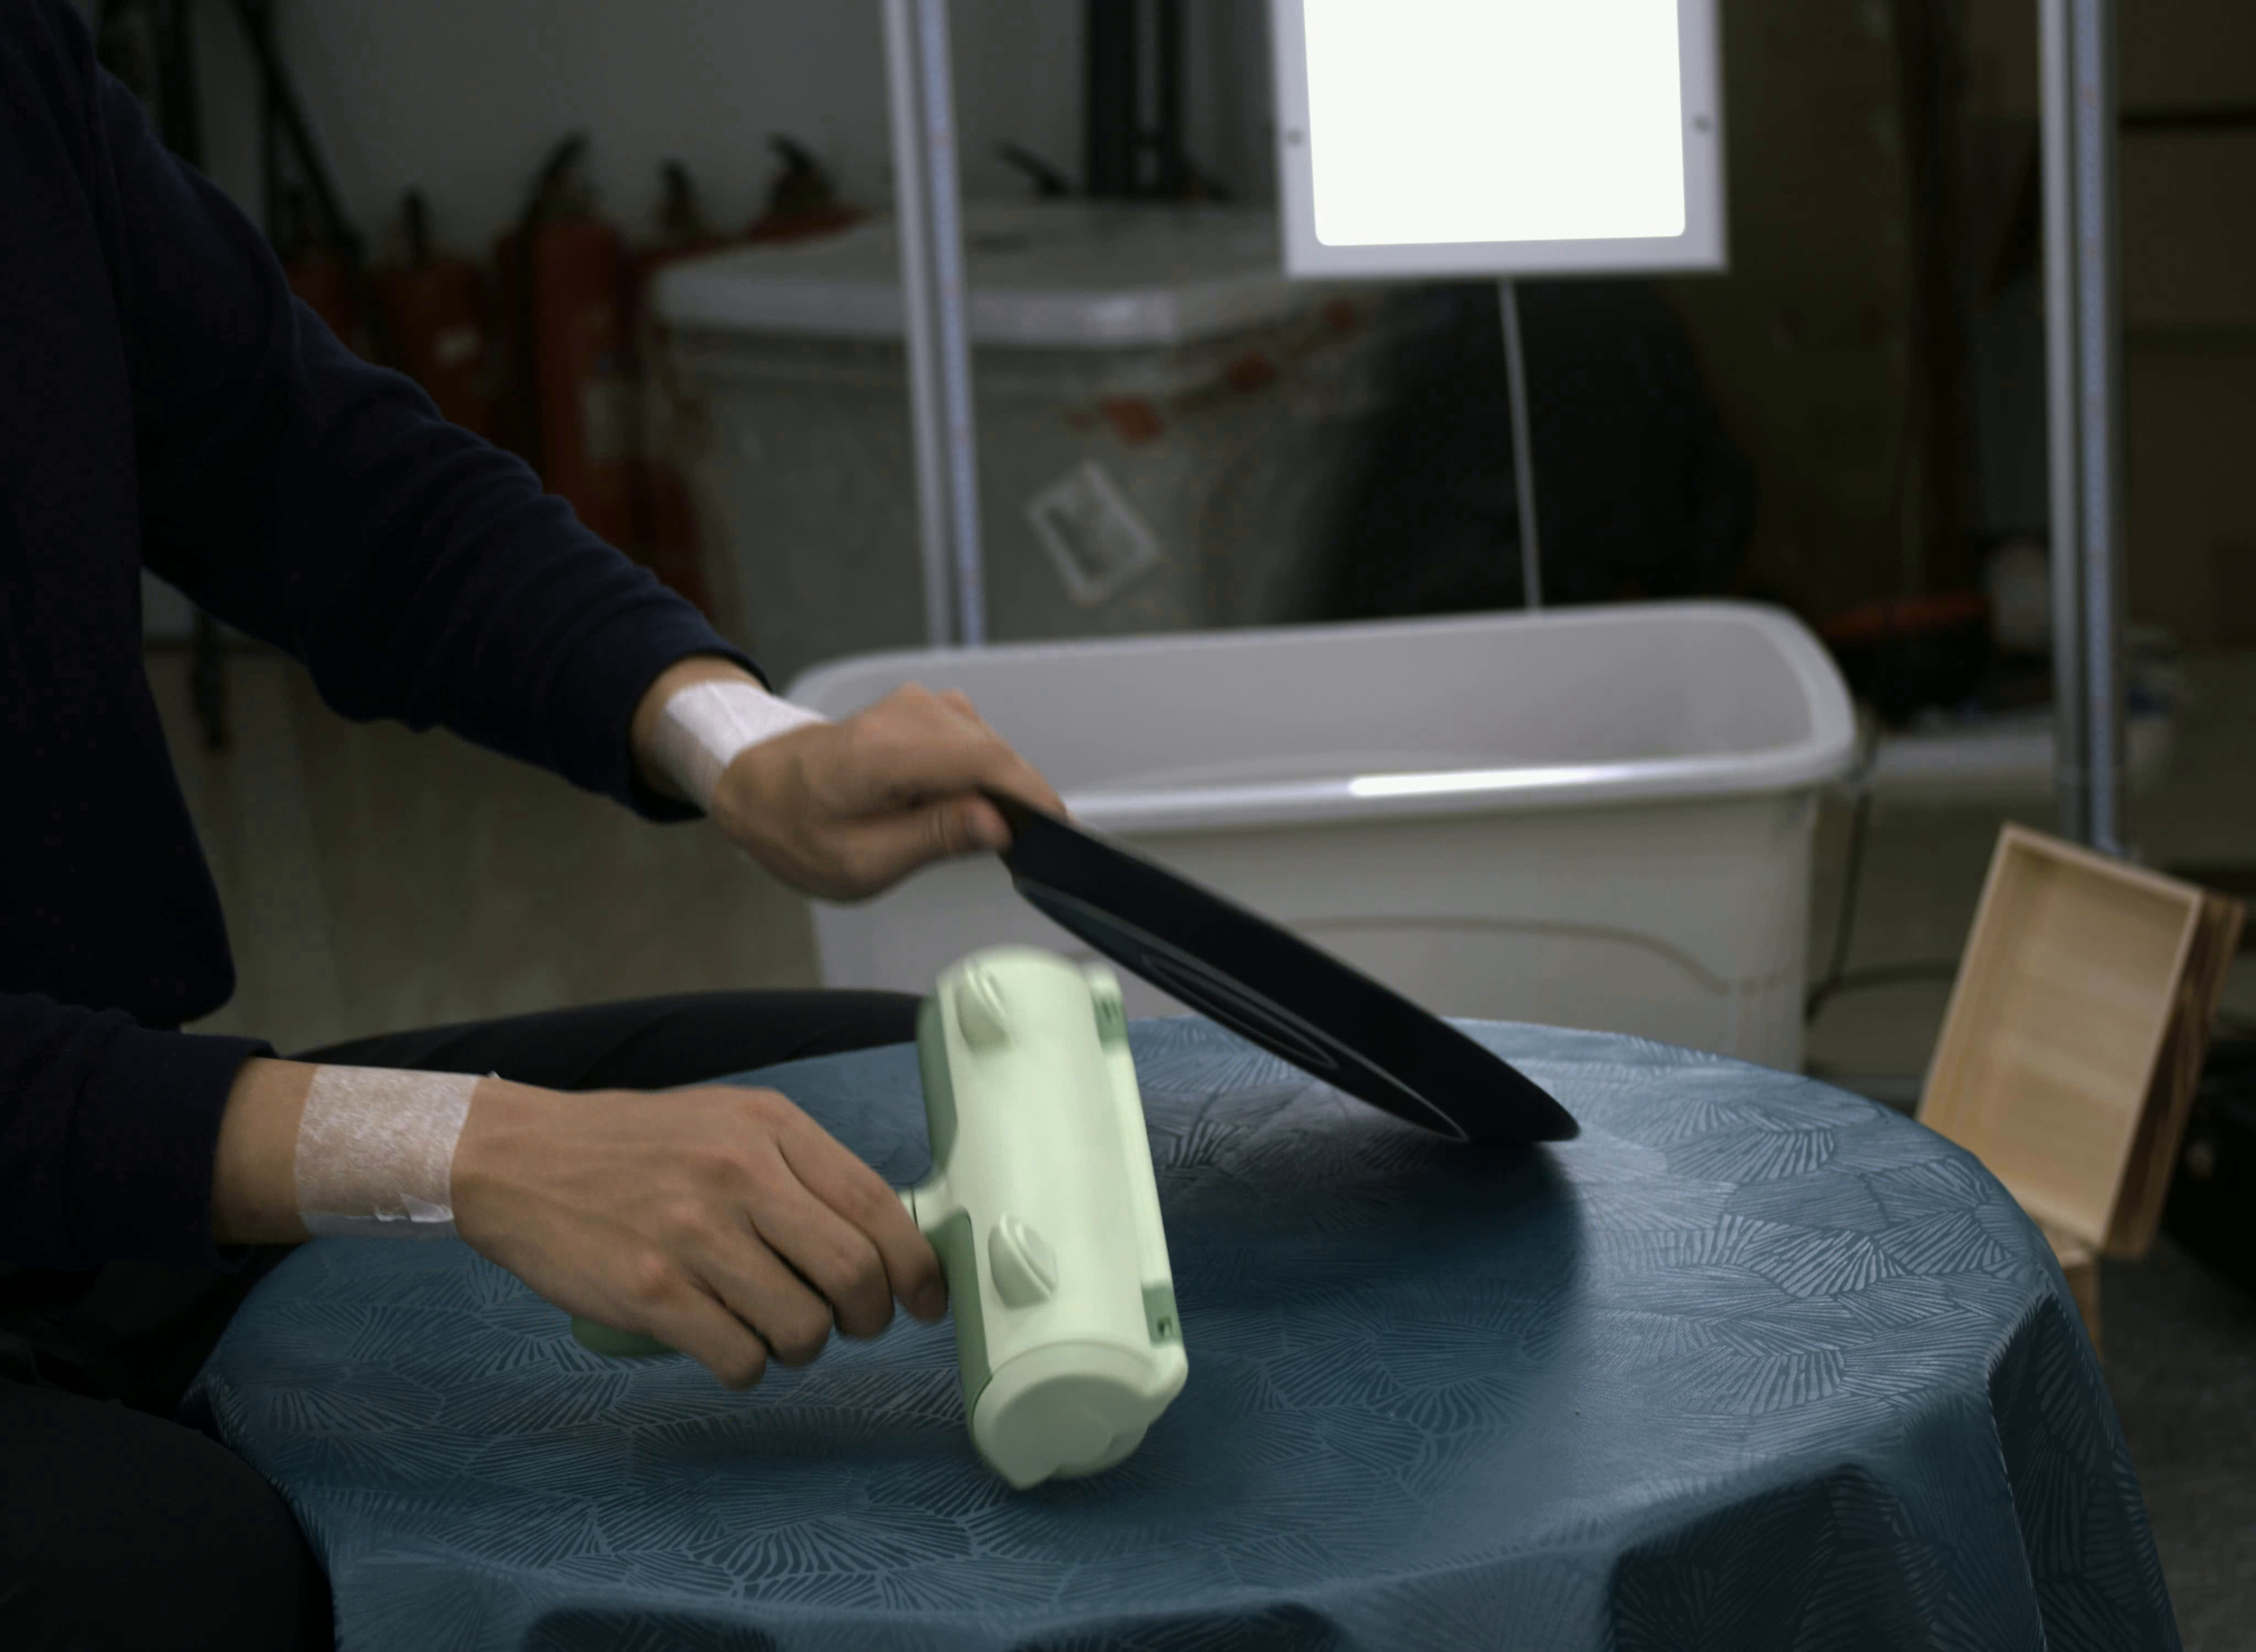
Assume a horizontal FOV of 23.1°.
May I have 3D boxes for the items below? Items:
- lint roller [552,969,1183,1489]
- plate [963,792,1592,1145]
[{"bbox_3d":[-0.084,0.116,1.665,0.182,0.082,0.198,-4,35,-4],"label":"lint roller"},{"bbox_3d":[0.046,0.056,1.878,0.244,0.023,0.245,29,-5,1],"label":"plate"}]
